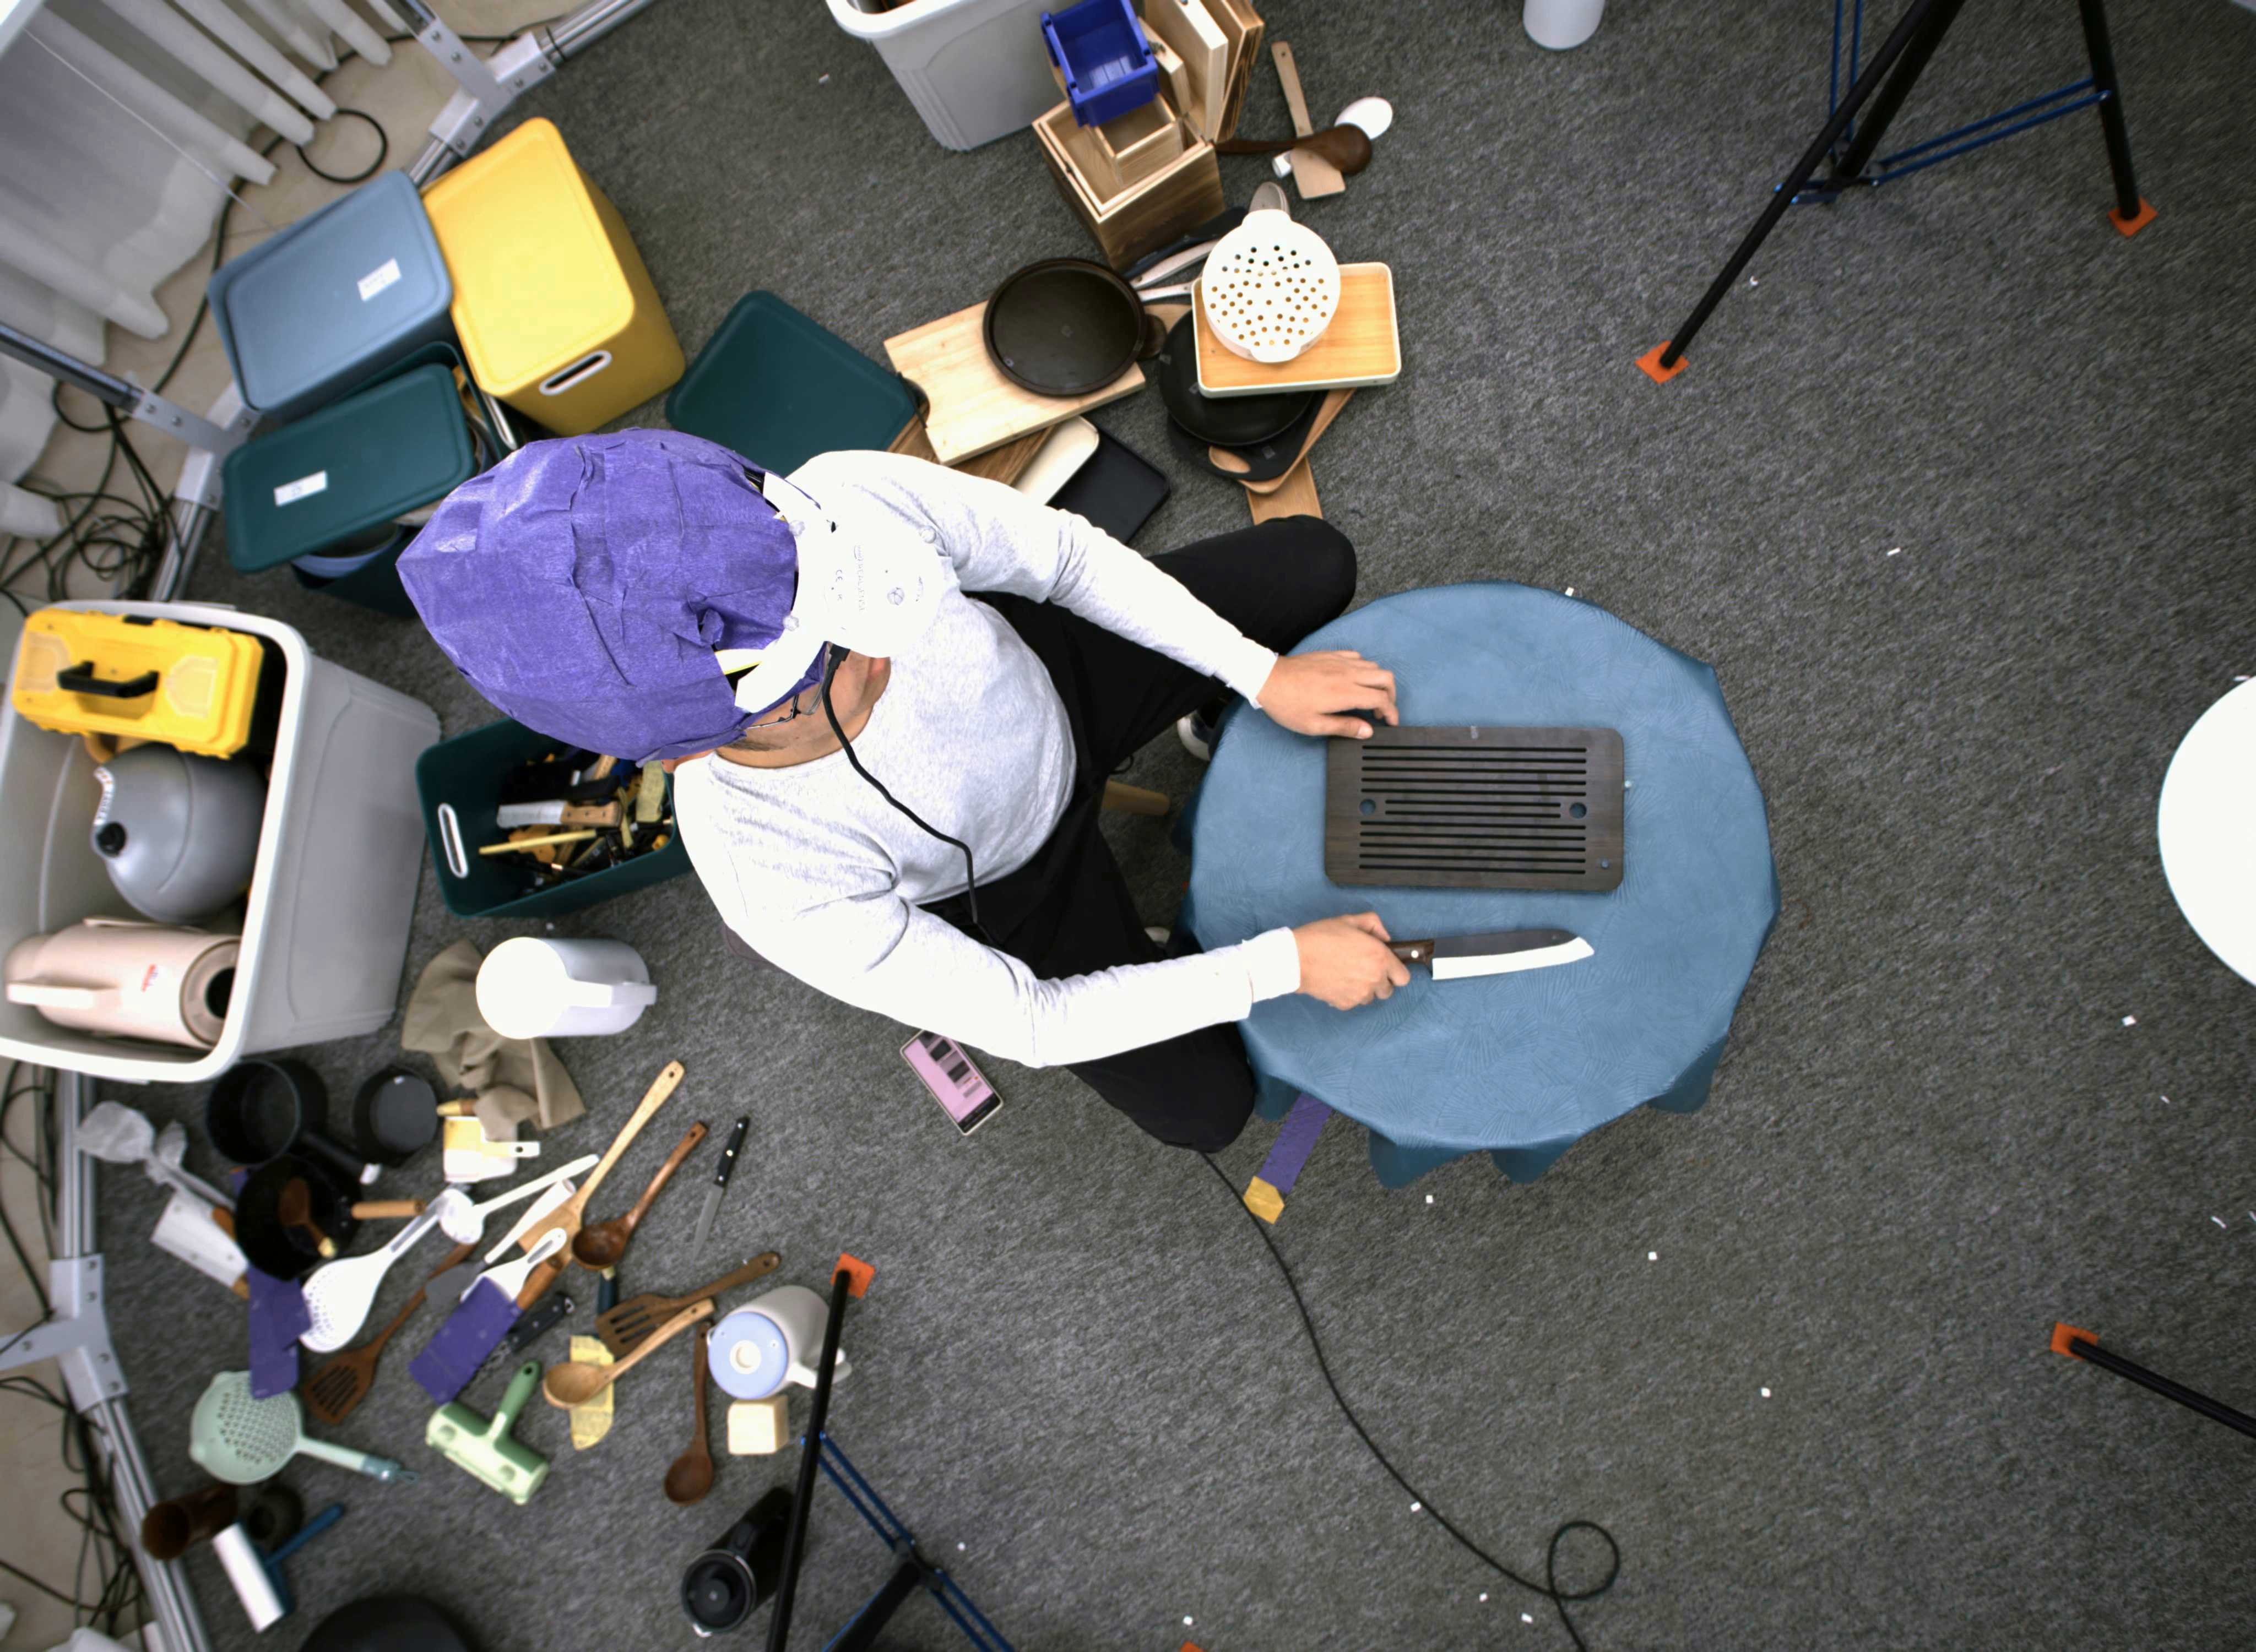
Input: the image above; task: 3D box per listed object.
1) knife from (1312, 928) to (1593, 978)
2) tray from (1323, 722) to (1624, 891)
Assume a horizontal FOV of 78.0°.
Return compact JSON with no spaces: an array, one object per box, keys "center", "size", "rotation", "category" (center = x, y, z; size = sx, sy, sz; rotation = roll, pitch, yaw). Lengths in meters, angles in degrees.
[{"center":[0.336,0.131,1.429],"size":[0.290,0.020,0.051],"rotation":[-3,105,5],"category":"knife"},{"center":[0.360,-0.024,1.440],"size":[0.307,0.018,0.169],"rotation":[2,87,11],"category":"tray"}]
